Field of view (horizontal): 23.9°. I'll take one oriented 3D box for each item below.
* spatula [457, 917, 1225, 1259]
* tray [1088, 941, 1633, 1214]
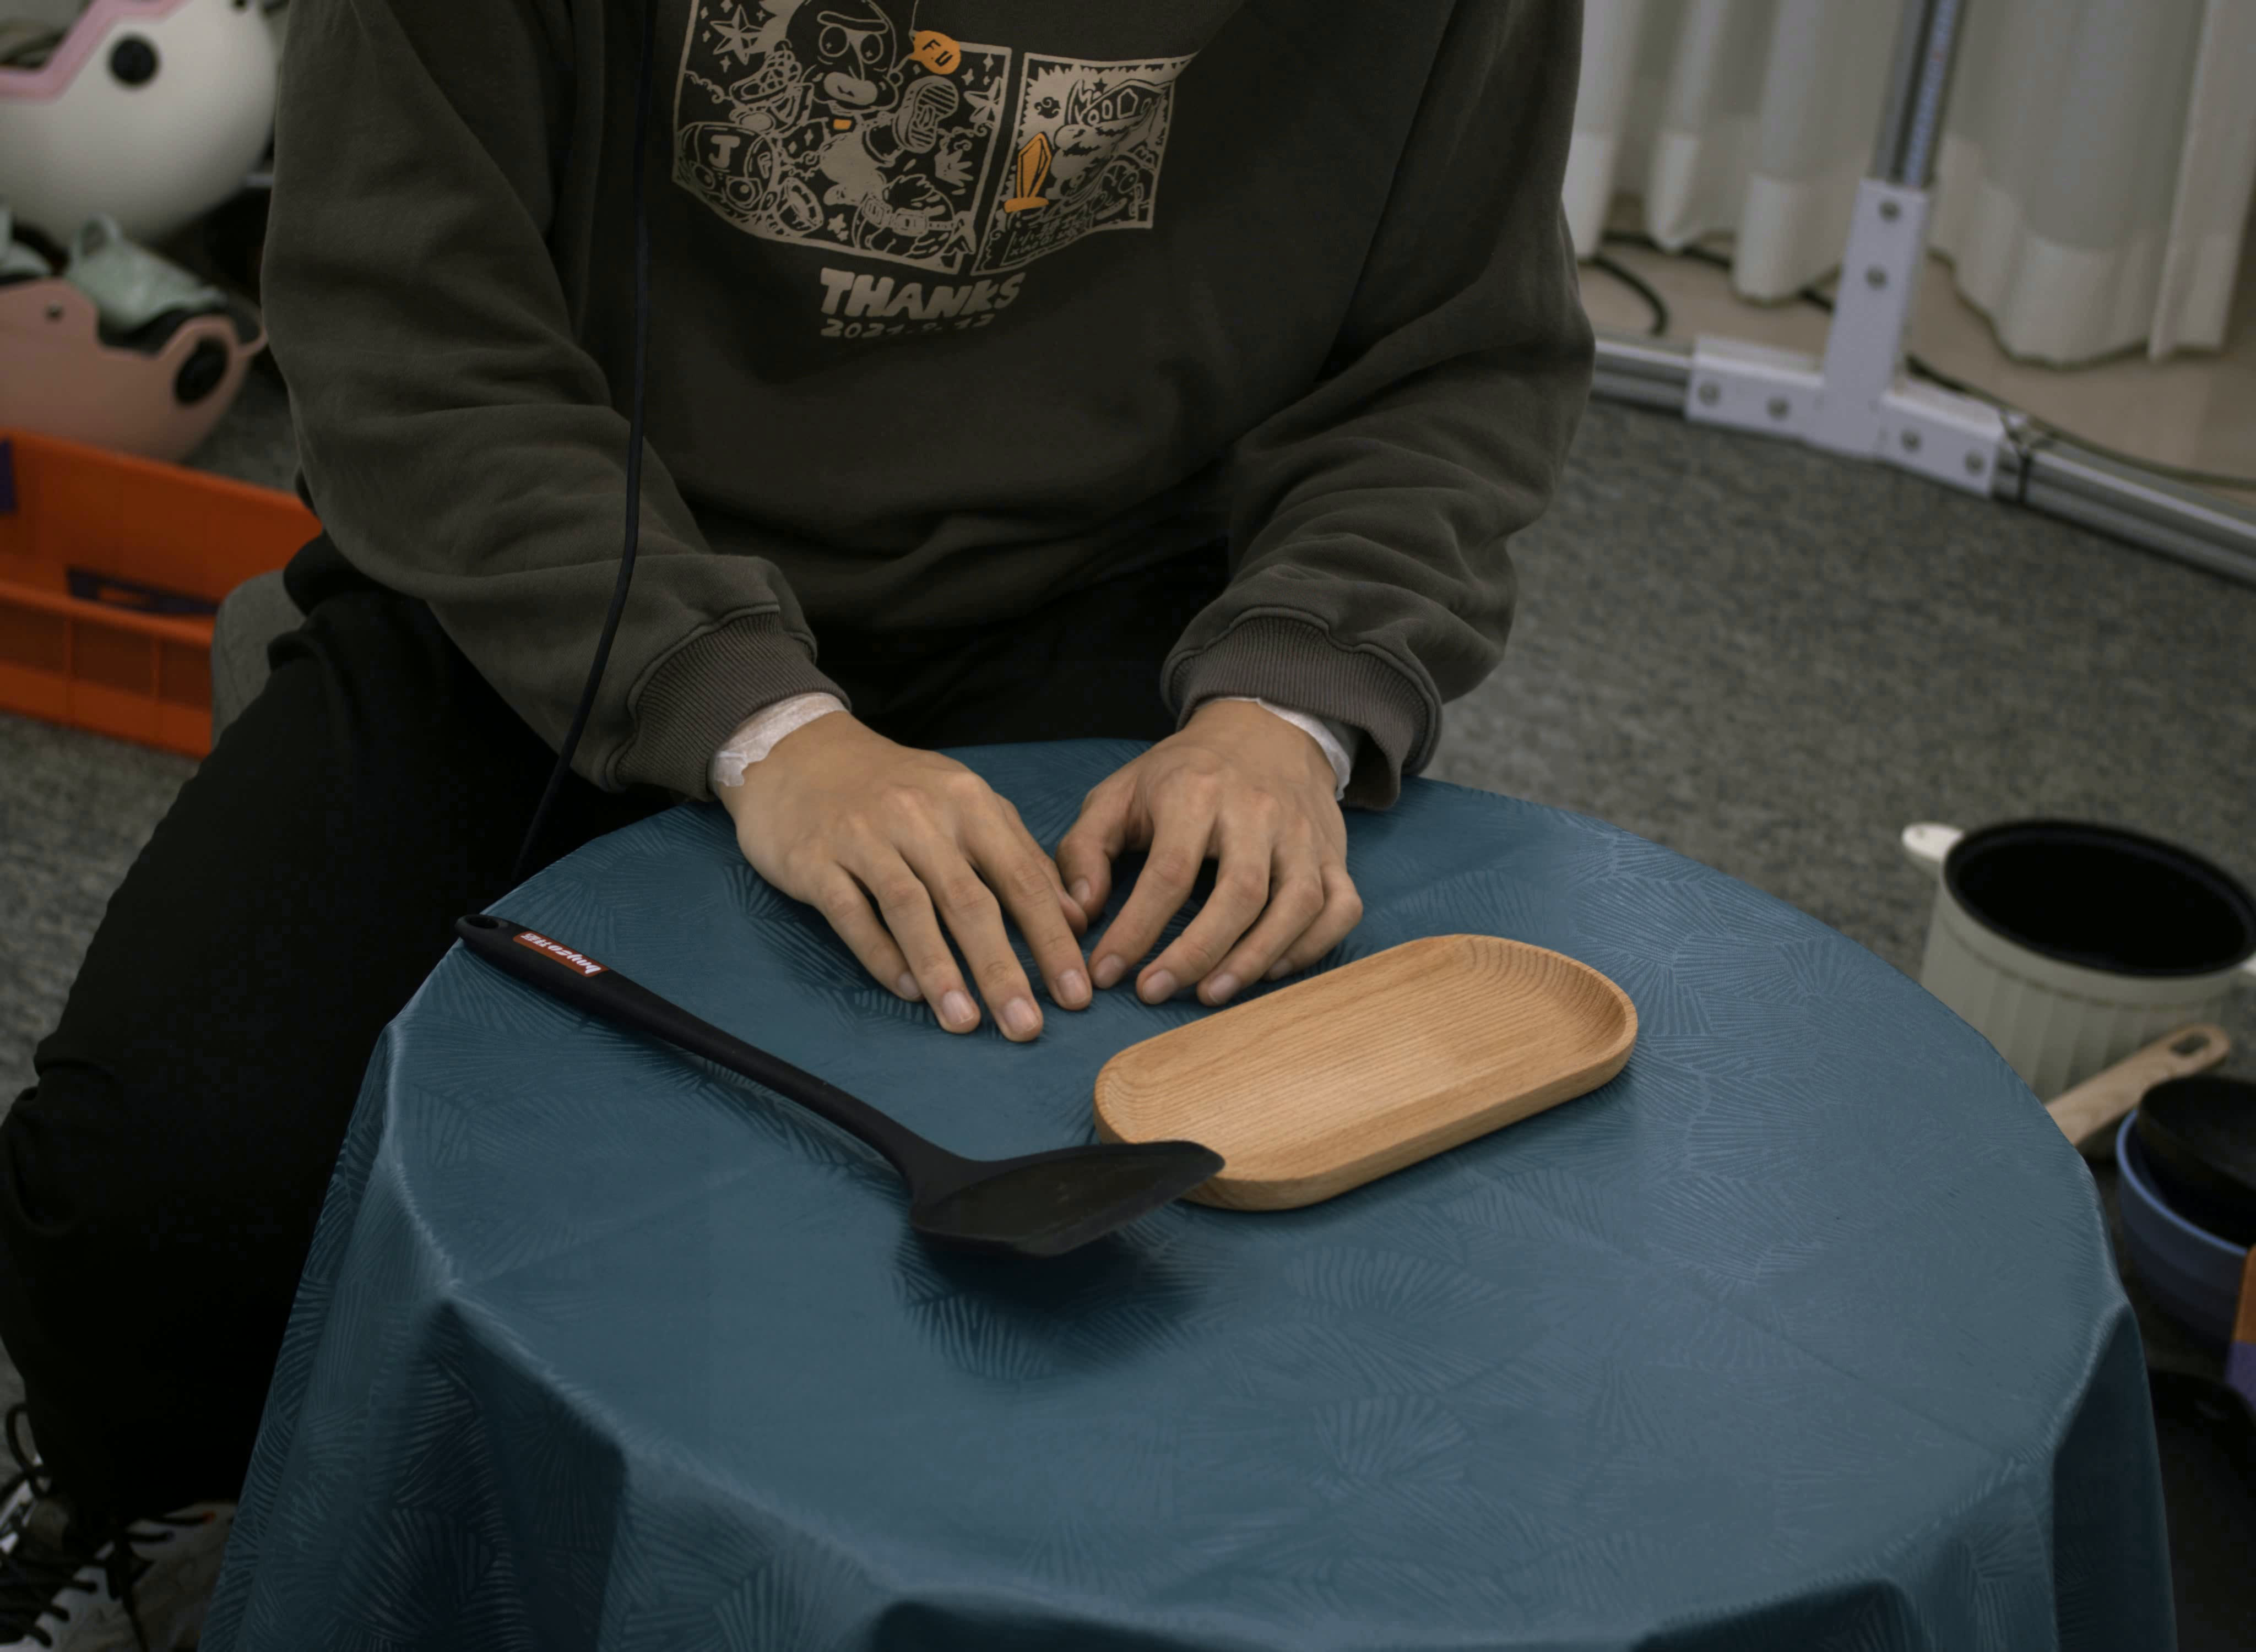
[{"bbox_3d":[-0.116,0.082,1.820,0.328,0.040,0.099,26,31,34],"label":"spatula"},{"bbox_3d":[0.084,0.088,1.876,0.230,0.020,0.102,-19,36,-39],"label":"tray"}]
